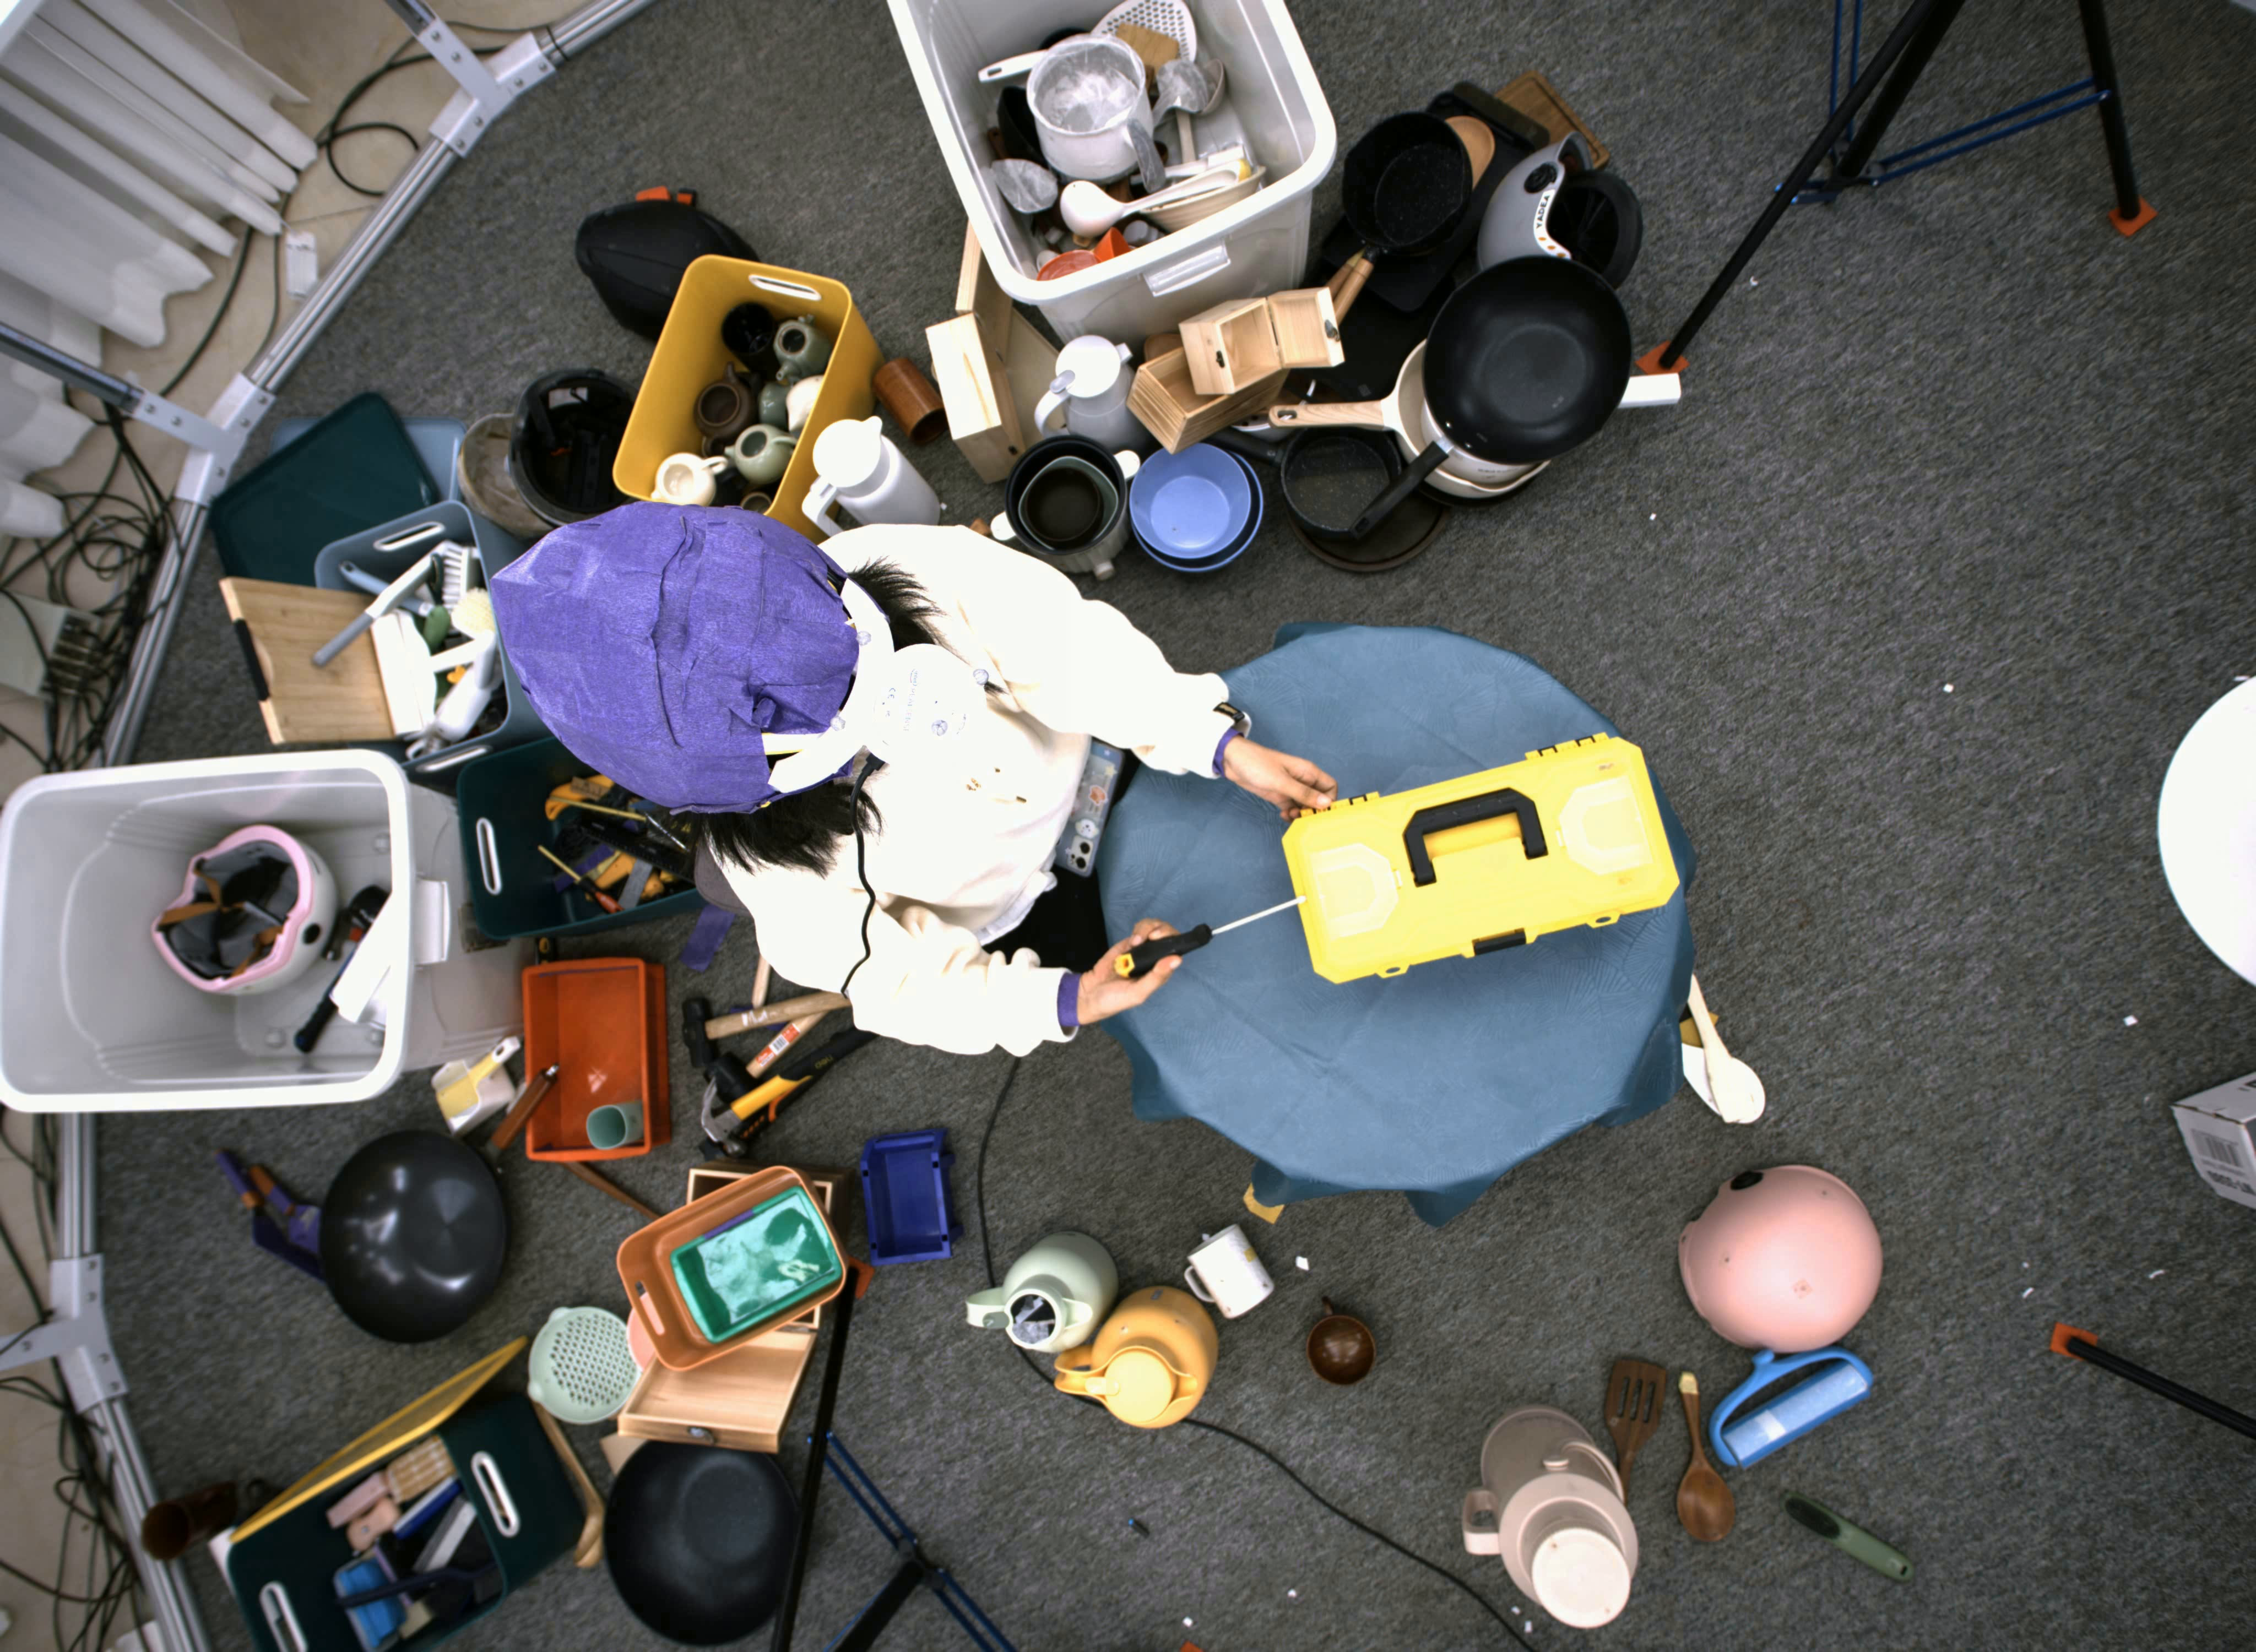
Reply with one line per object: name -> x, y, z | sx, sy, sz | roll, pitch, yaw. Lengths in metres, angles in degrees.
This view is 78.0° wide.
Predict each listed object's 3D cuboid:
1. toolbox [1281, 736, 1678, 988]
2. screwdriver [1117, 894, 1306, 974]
toolbox -> 0.340, 0.037, 1.361 | 0.353, 0.173, 0.180 | -14, 83, 9
screwdriver -> 0.081, 0.102, 1.348 | 0.197, 0.031, 0.031 | -21, 82, 11
